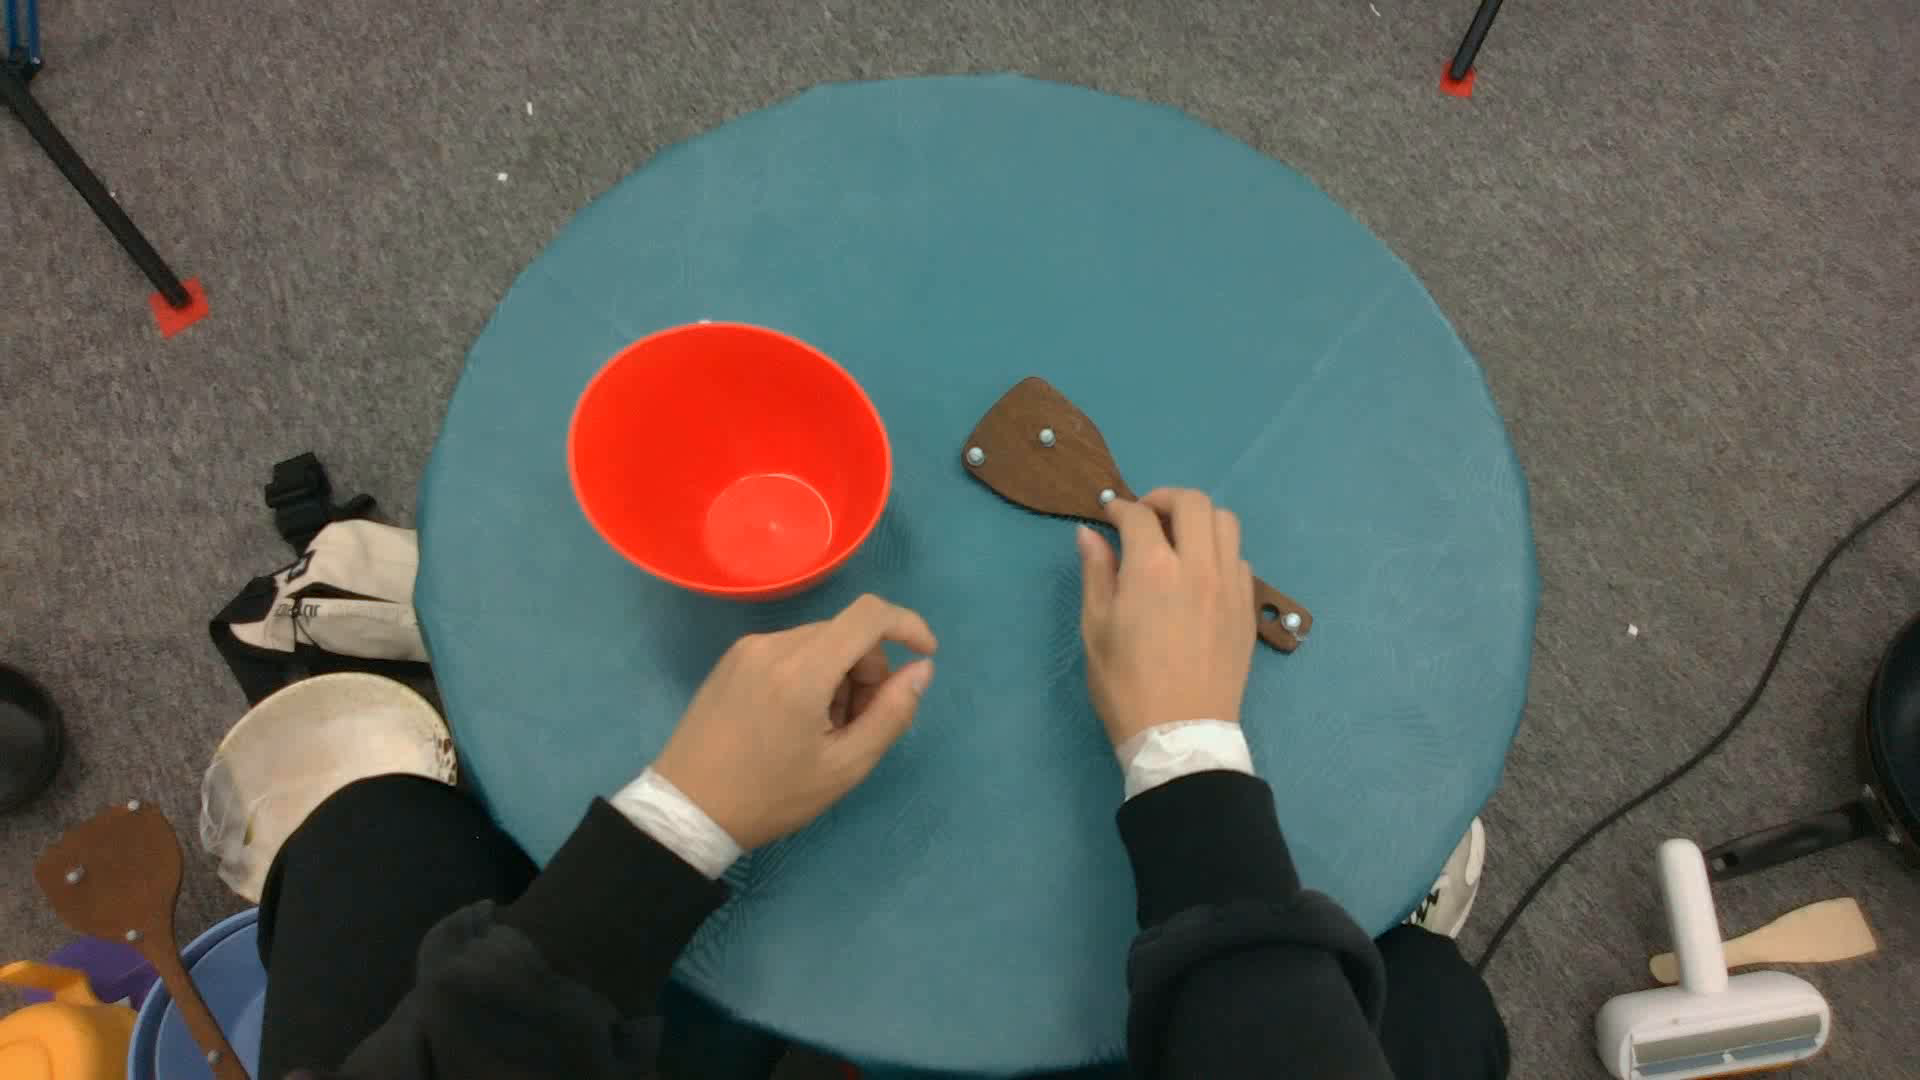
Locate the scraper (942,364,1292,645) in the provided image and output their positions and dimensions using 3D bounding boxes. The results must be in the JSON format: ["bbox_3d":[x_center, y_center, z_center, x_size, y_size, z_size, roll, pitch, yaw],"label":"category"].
[{"bbox_3d":[0.088,-0.014,0.744,0.211,0.011,0.076,37,68,12],"label":"scraper"}]

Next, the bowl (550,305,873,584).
[{"bbox_3d":[-0.118,-0.033,0.684,0.148,0.104,0.148,2,64,-4],"label":"bowl"}]
